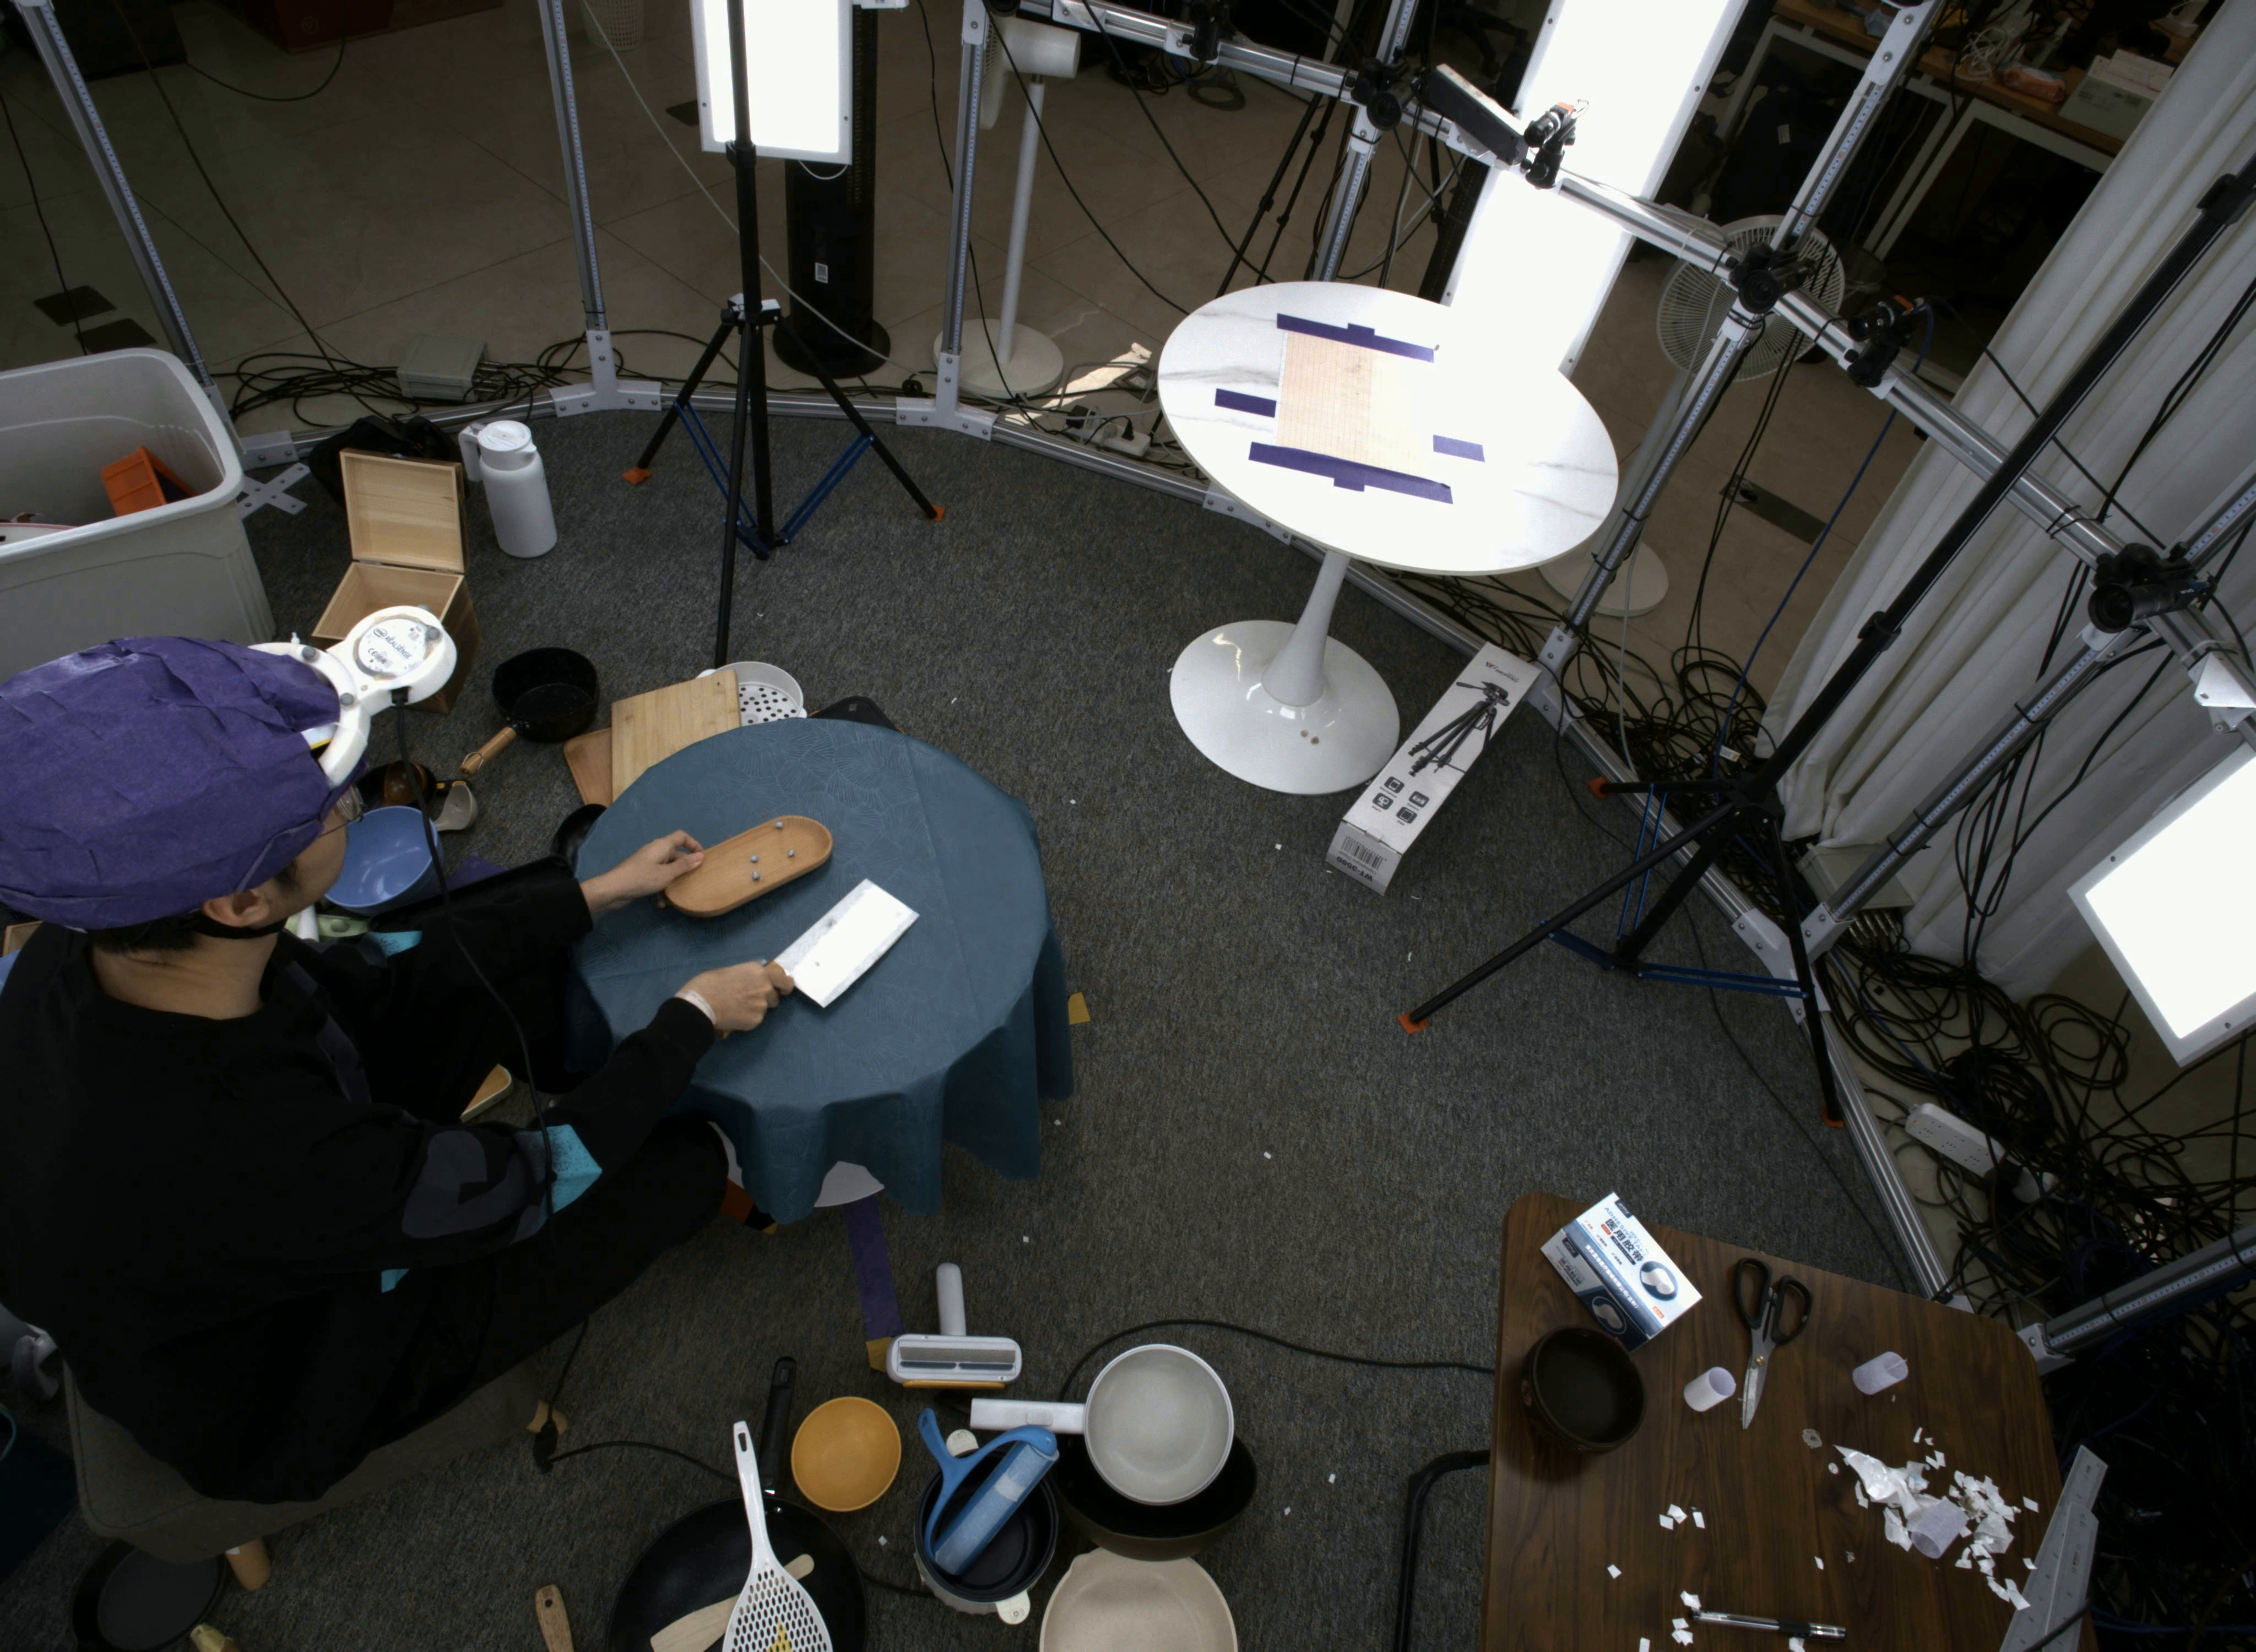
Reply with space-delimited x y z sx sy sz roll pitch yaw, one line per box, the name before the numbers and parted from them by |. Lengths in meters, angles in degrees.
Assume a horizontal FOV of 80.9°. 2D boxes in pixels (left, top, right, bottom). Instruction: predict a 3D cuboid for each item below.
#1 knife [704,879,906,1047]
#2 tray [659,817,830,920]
knife | -0.380 0.171 1.574 0.092 0.021 0.305 35 47 8
tray | -0.480 0.050 1.628 0.098 0.021 0.232 37 46 26
